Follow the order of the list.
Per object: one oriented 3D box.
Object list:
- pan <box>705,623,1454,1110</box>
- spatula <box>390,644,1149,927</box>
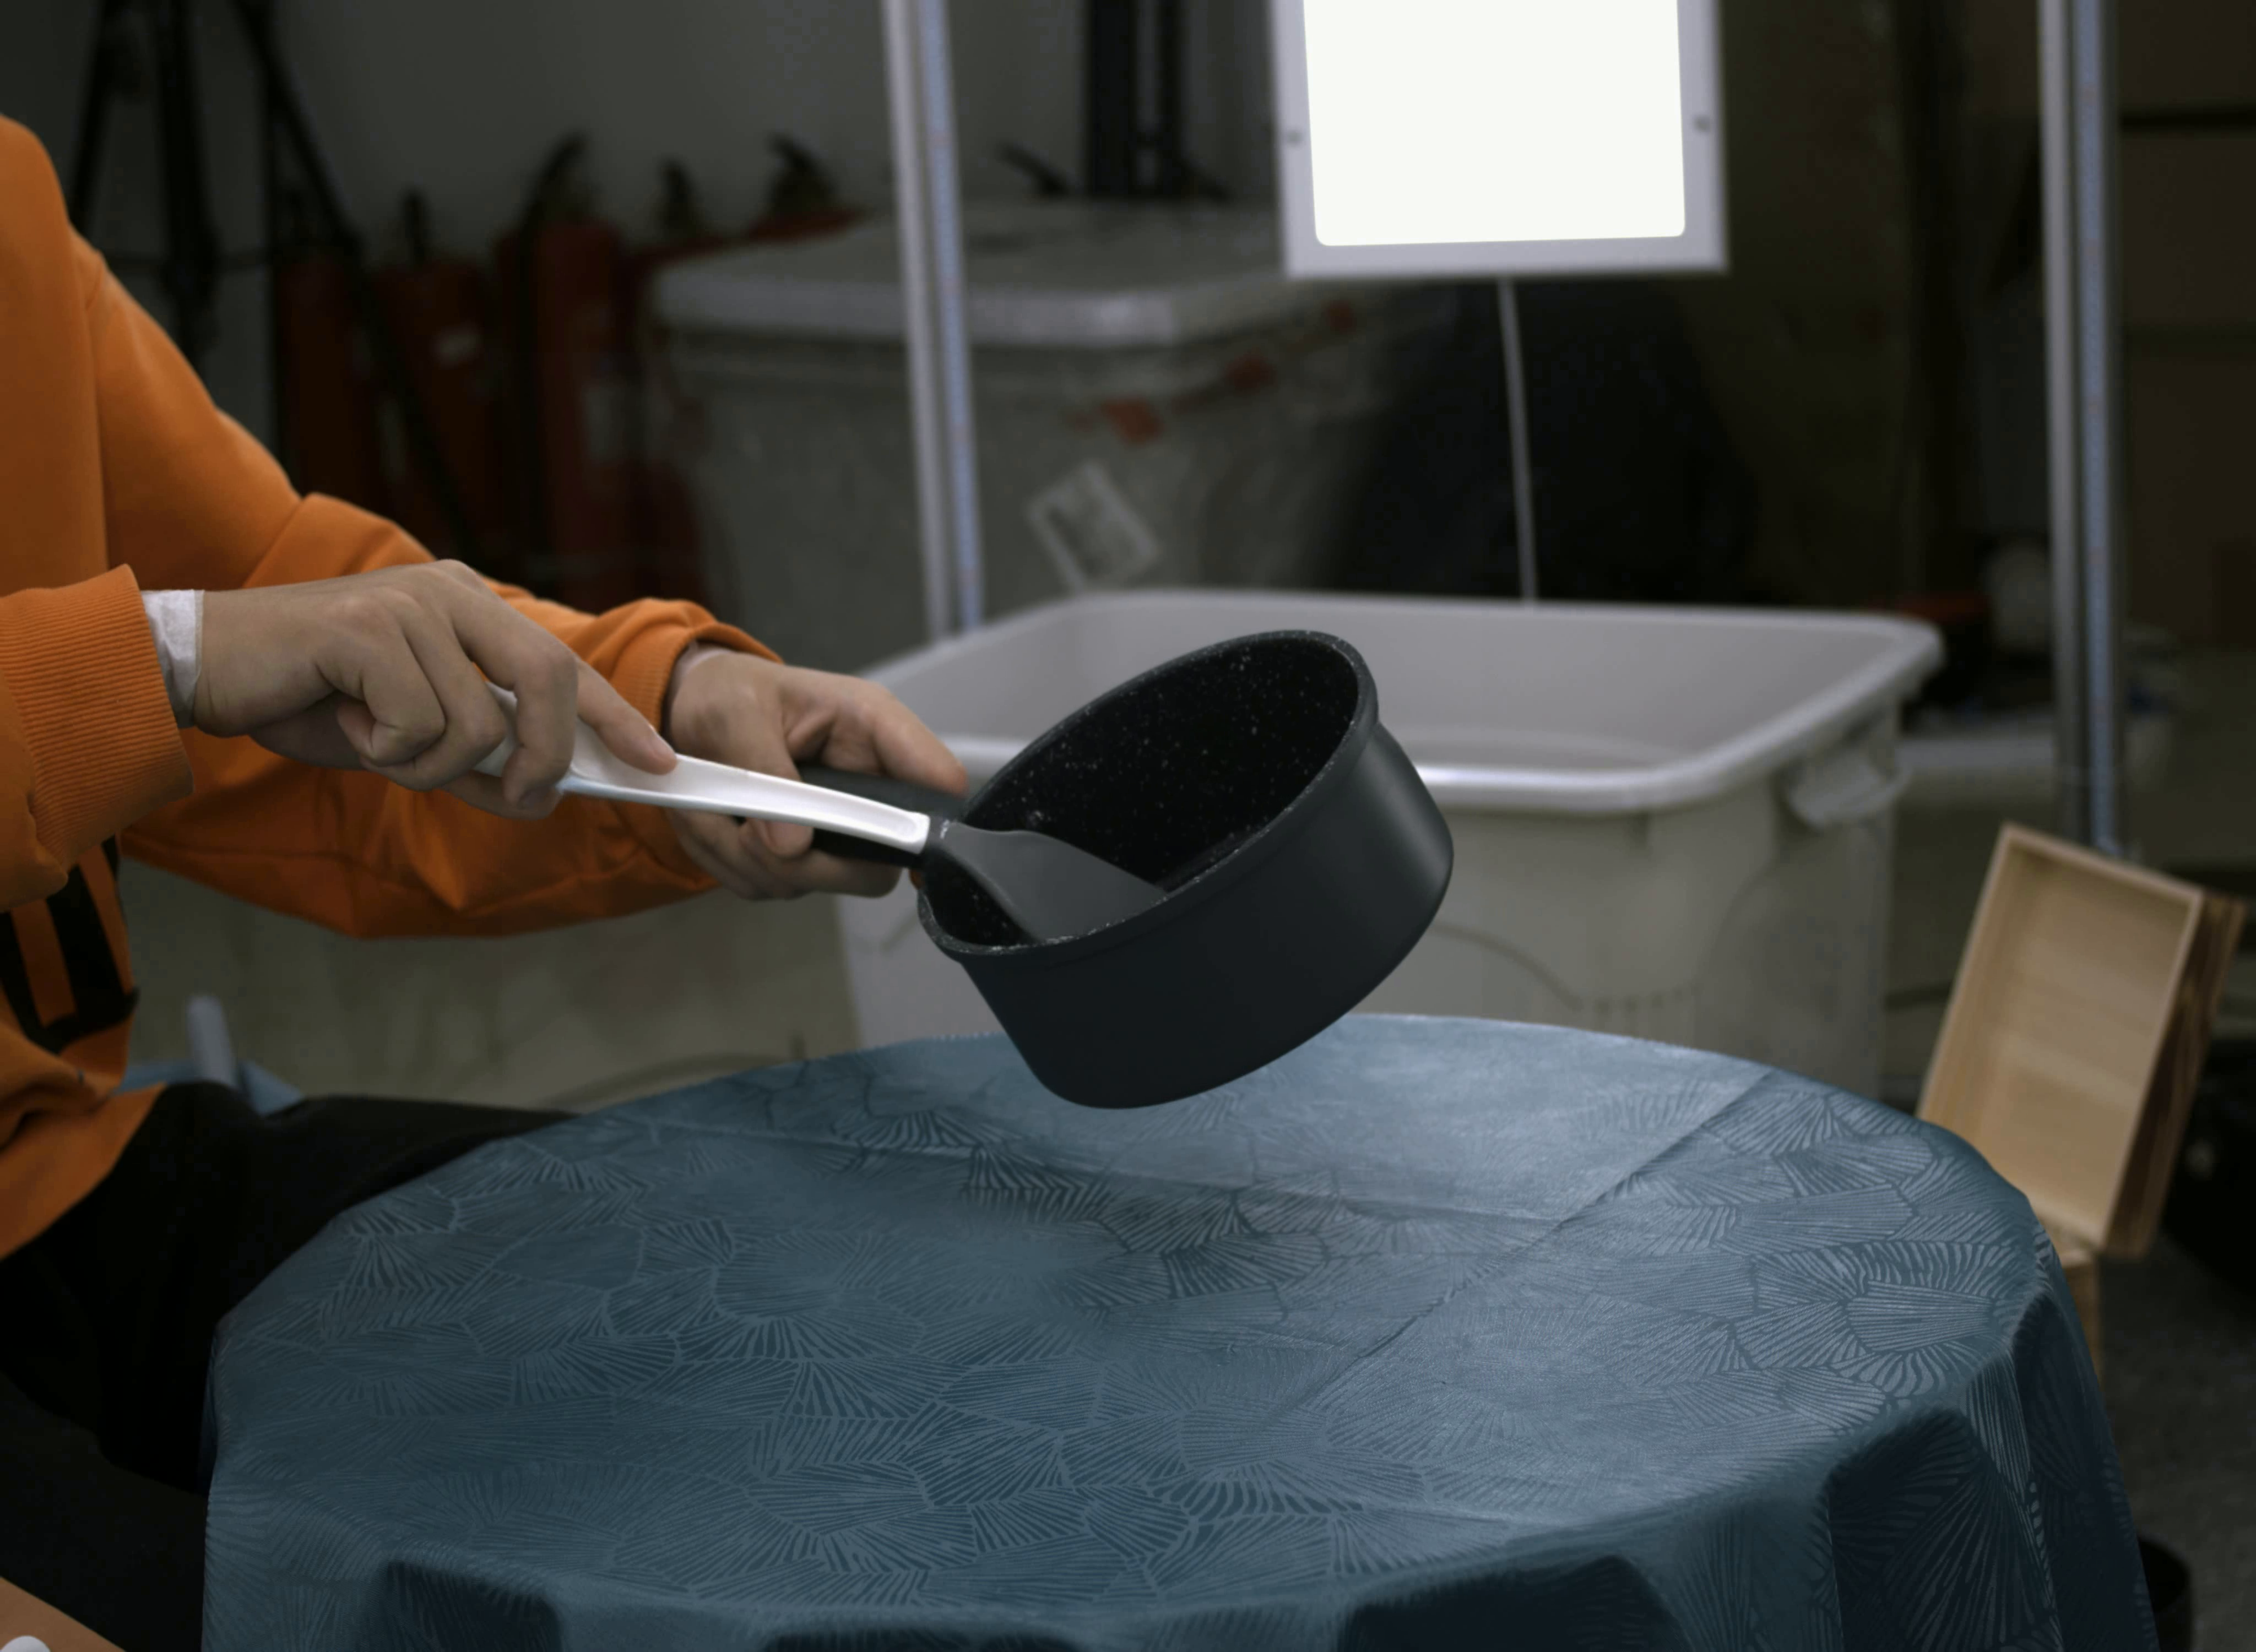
[{"bbox_3d":[-0.029,0.011,1.897,0.169,0.086,0.336,-45,28,-27],"label":"pan"},{"bbox_3d":[-0.104,-0.001,1.832,0.285,0.032,0.058,18,38,-7],"label":"spatula"}]
